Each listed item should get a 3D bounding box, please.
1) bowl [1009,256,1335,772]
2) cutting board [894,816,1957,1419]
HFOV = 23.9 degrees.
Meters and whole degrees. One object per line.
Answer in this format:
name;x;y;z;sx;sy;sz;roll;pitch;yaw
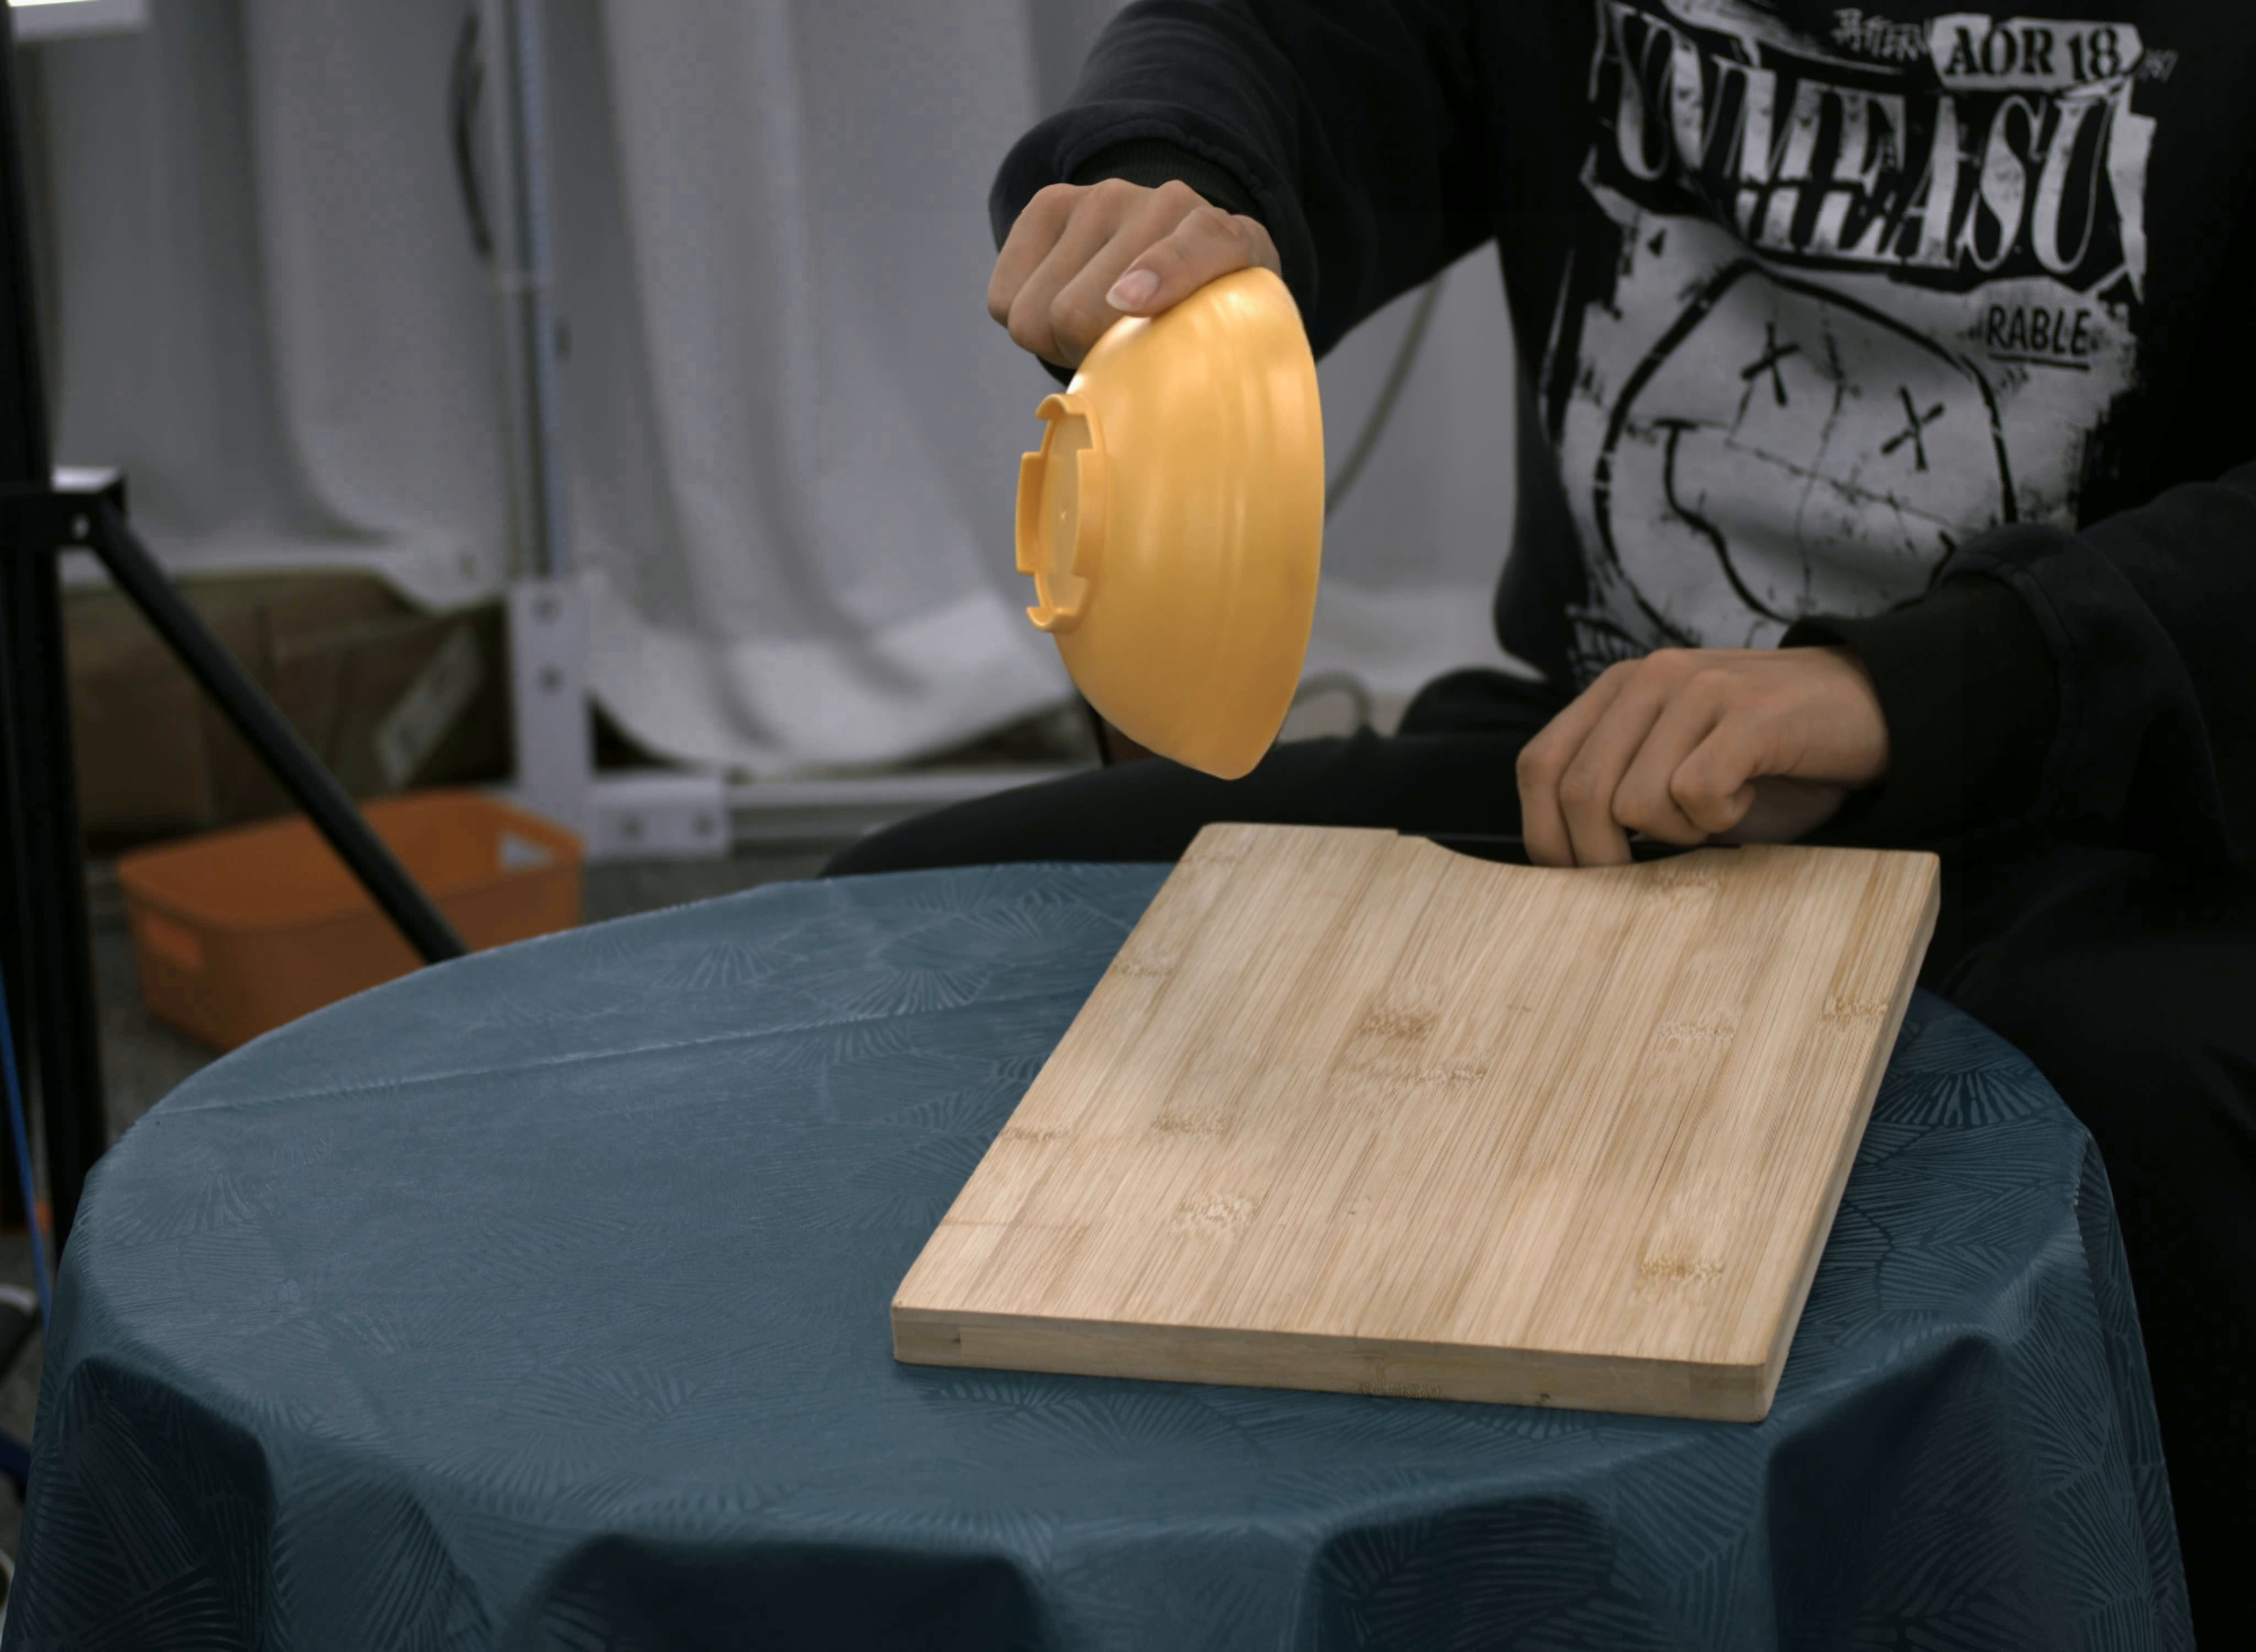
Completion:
bowl;0.004;-0.089;1.488;0.059;0.146;0.147;4;13;-19
cutting board;0.098;0.076;1.549;0.253;0.023;0.346;2;23;16
